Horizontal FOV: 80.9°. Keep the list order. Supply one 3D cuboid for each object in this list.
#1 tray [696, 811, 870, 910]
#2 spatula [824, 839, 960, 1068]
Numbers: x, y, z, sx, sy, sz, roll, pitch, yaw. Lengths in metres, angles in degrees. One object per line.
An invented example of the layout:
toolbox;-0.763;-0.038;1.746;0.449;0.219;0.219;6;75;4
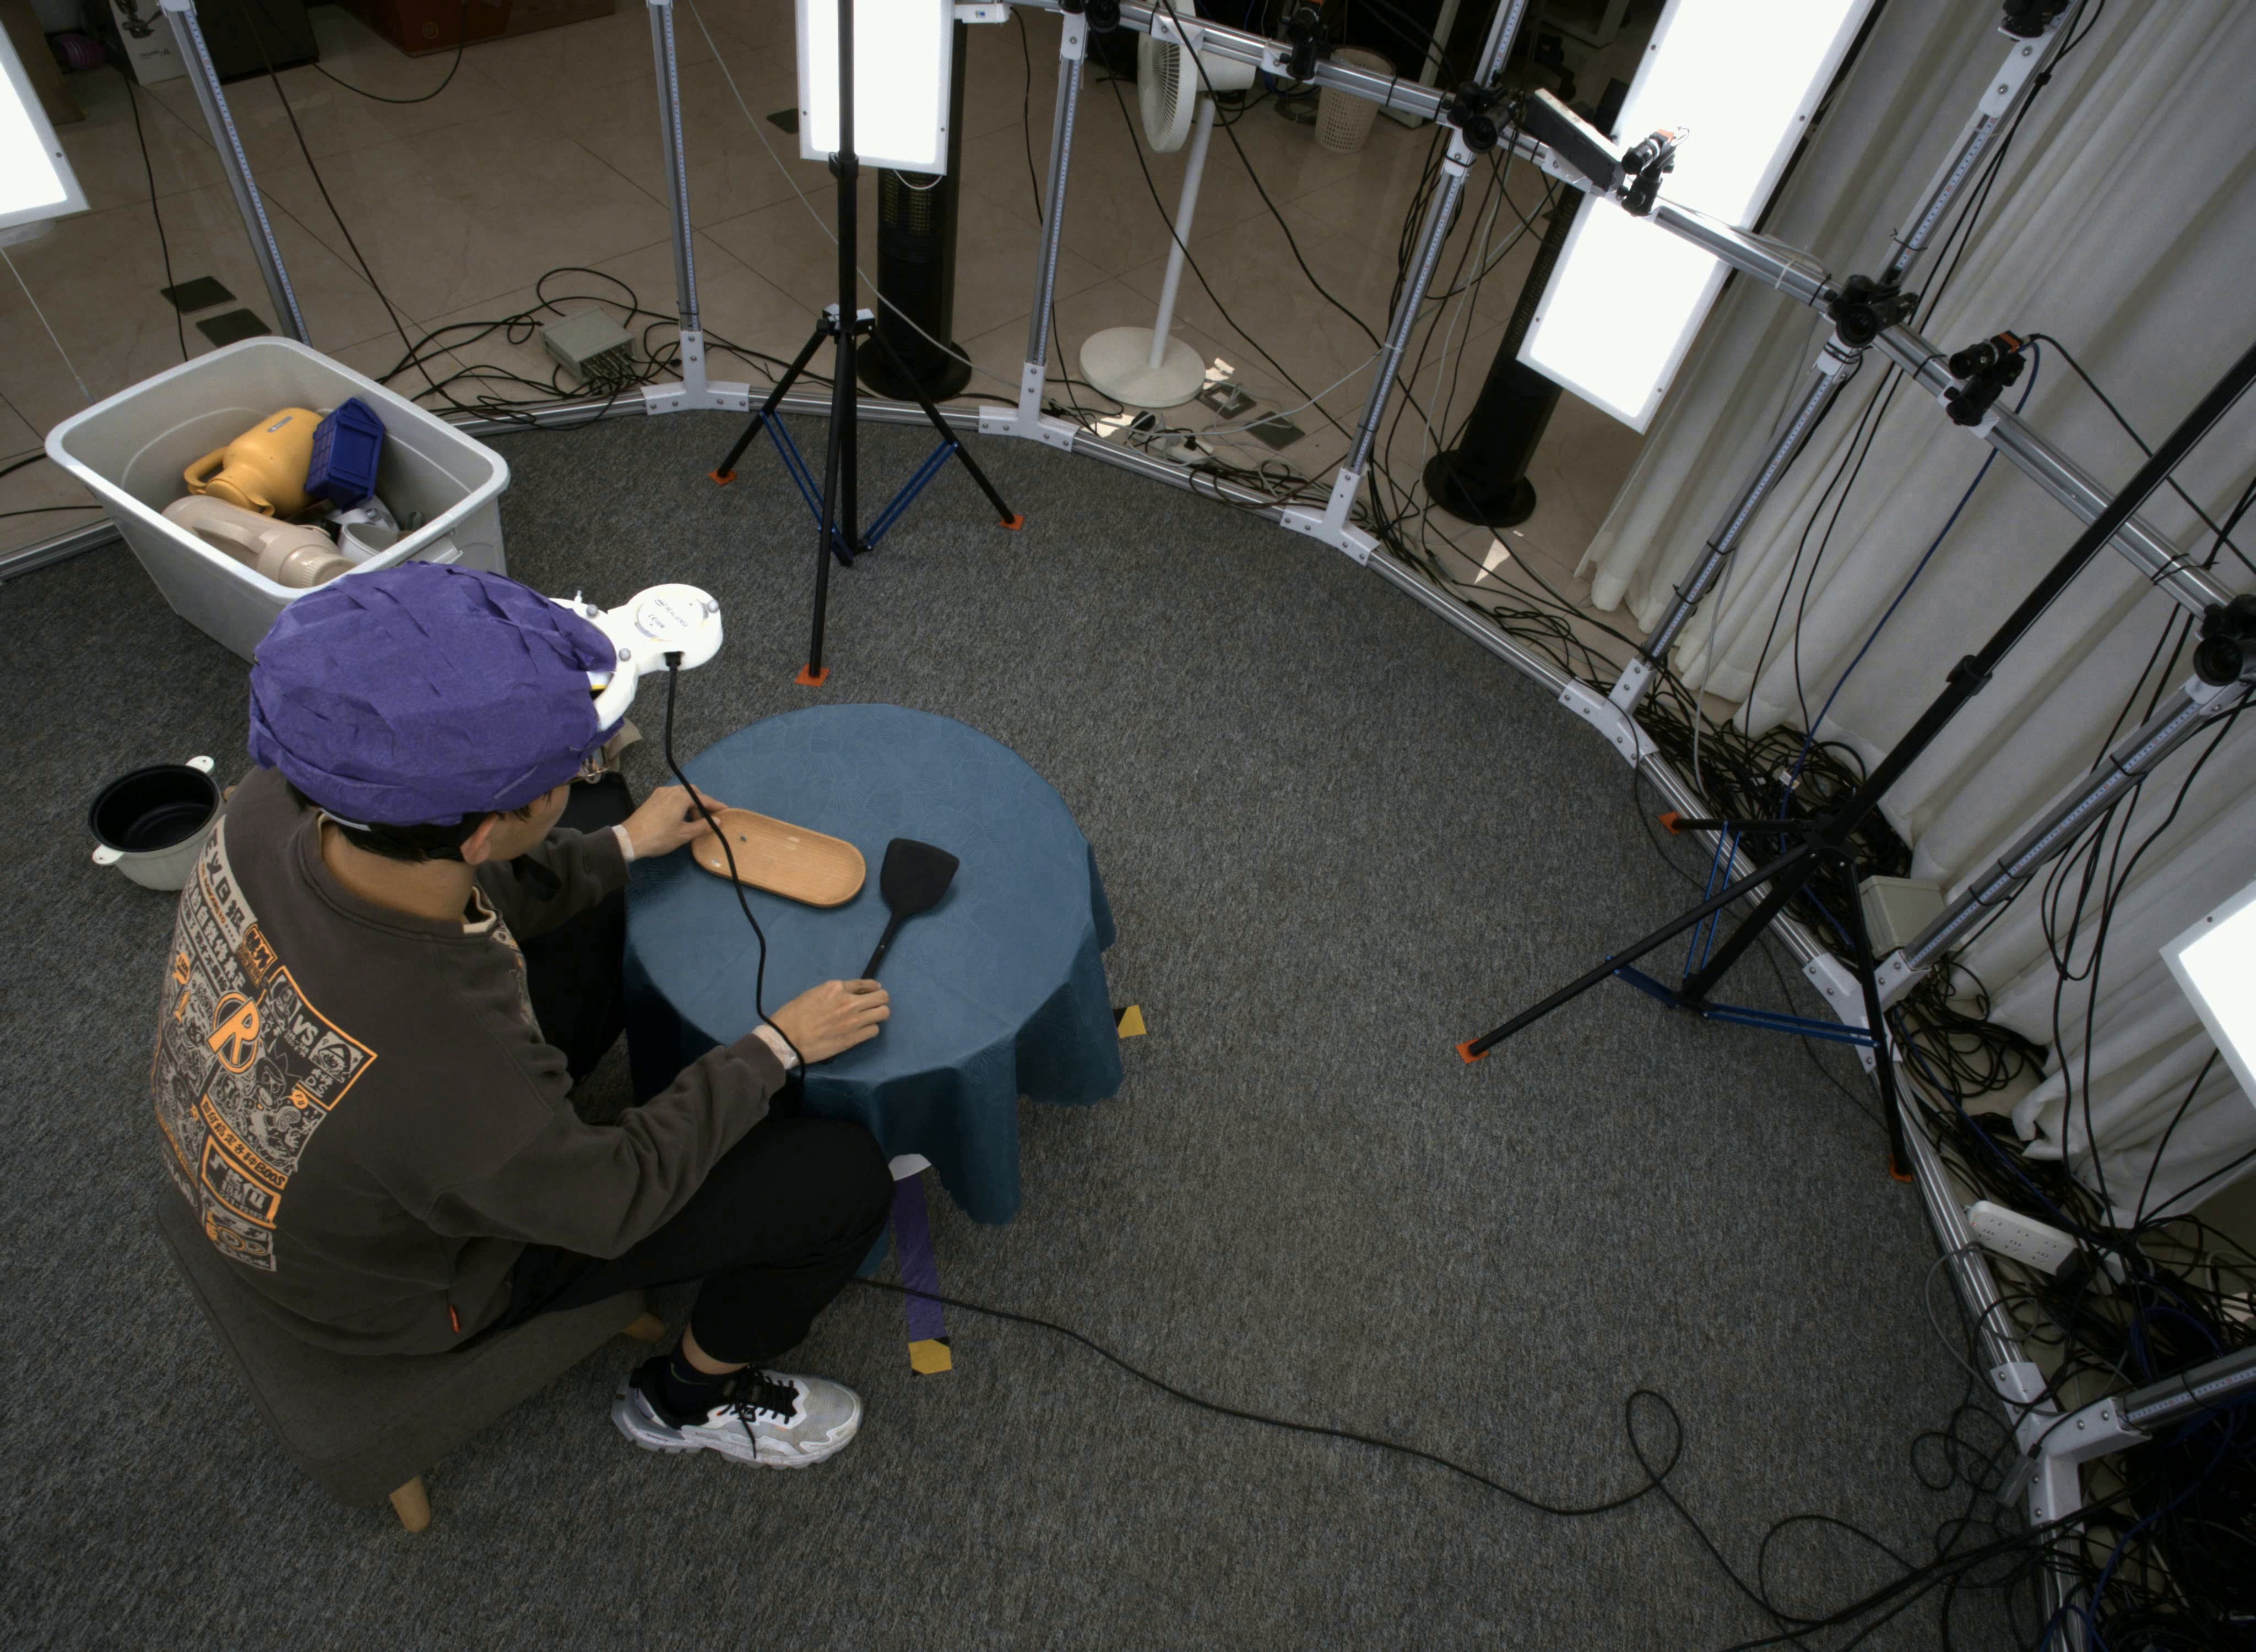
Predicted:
tray;-0.449;0.043;1.688;0.229;0.020;0.101;18;58;-2
spatula;-0.310;0.155;1.629;0.098;0.041;0.323;18;52;4
